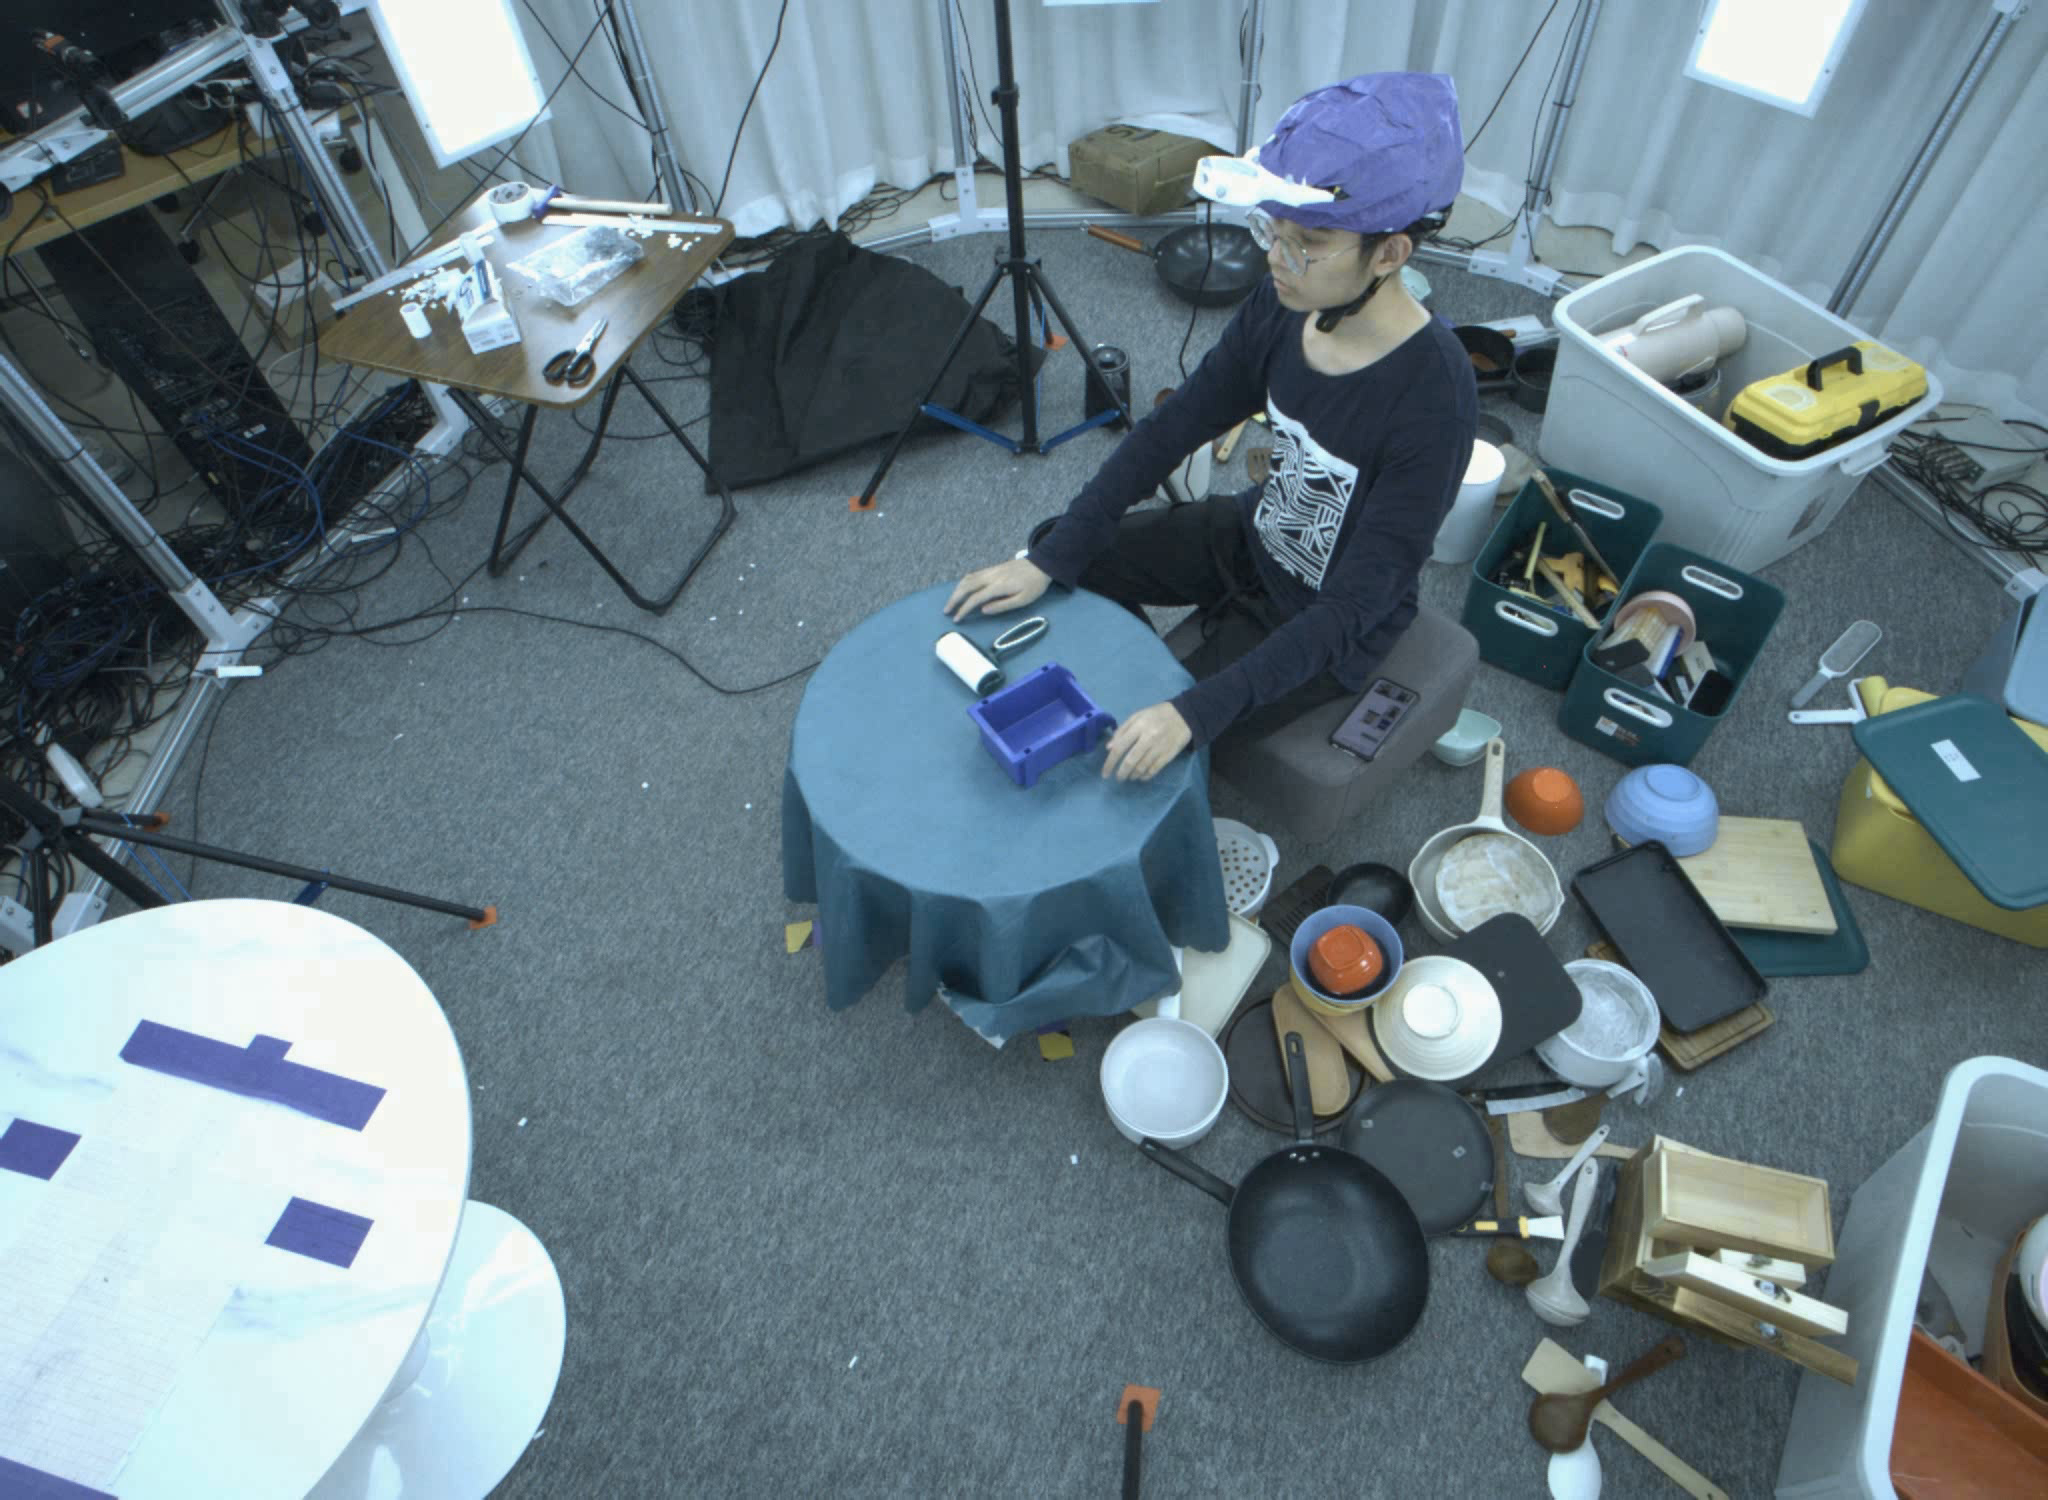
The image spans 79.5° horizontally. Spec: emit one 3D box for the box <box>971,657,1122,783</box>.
[{"bbox_3d":[0.033,-0.048,1.778,0.180,0.083,0.122,-30,58,-15],"label":"box"}]

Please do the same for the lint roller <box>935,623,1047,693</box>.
[{"bbox_3d":[-0.035,-0.166,1.891,0.182,0.049,0.132,-33,59,-25],"label":"lint roller"}]
